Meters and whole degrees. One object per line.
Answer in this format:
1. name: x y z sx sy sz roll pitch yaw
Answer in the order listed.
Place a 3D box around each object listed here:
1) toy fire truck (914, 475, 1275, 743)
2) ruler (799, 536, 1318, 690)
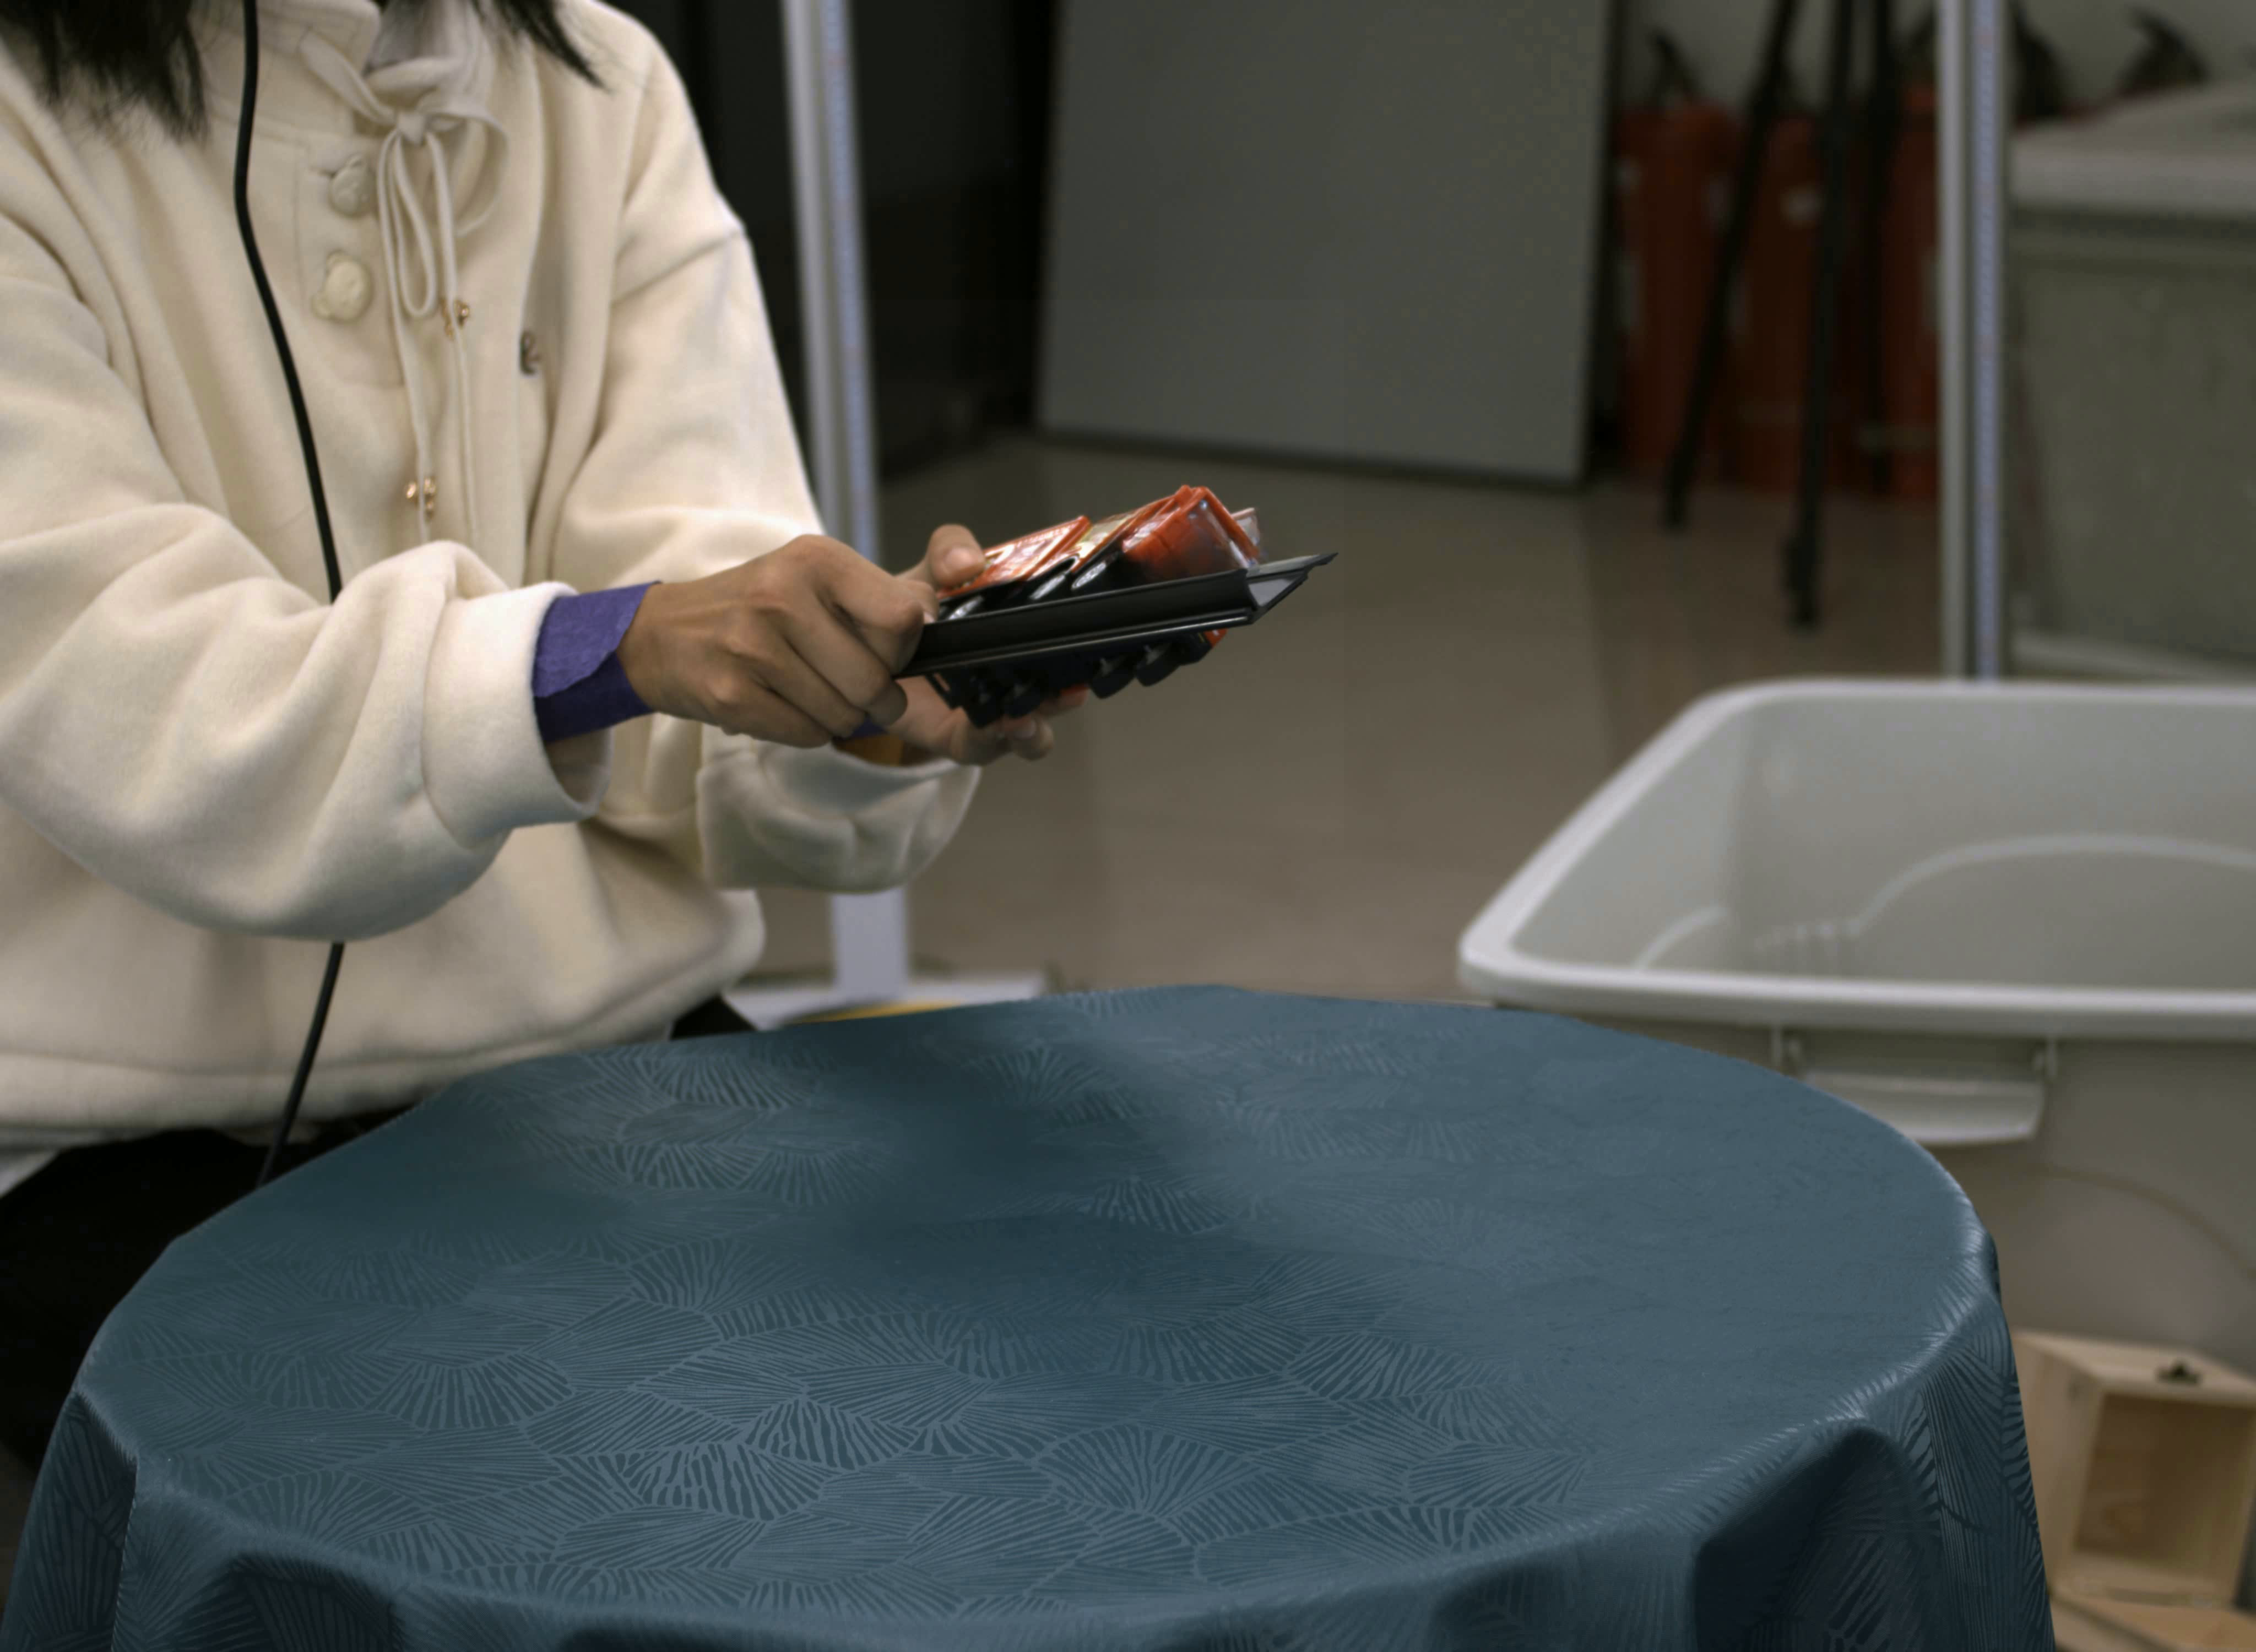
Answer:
1. toy fire truck: -0.014 -0.074 1.811 0.070 0.054 0.169 -46 15 -28
2. ruler: -0.029 -0.072 1.727 0.039 0.017 0.315 -37 13 -24
